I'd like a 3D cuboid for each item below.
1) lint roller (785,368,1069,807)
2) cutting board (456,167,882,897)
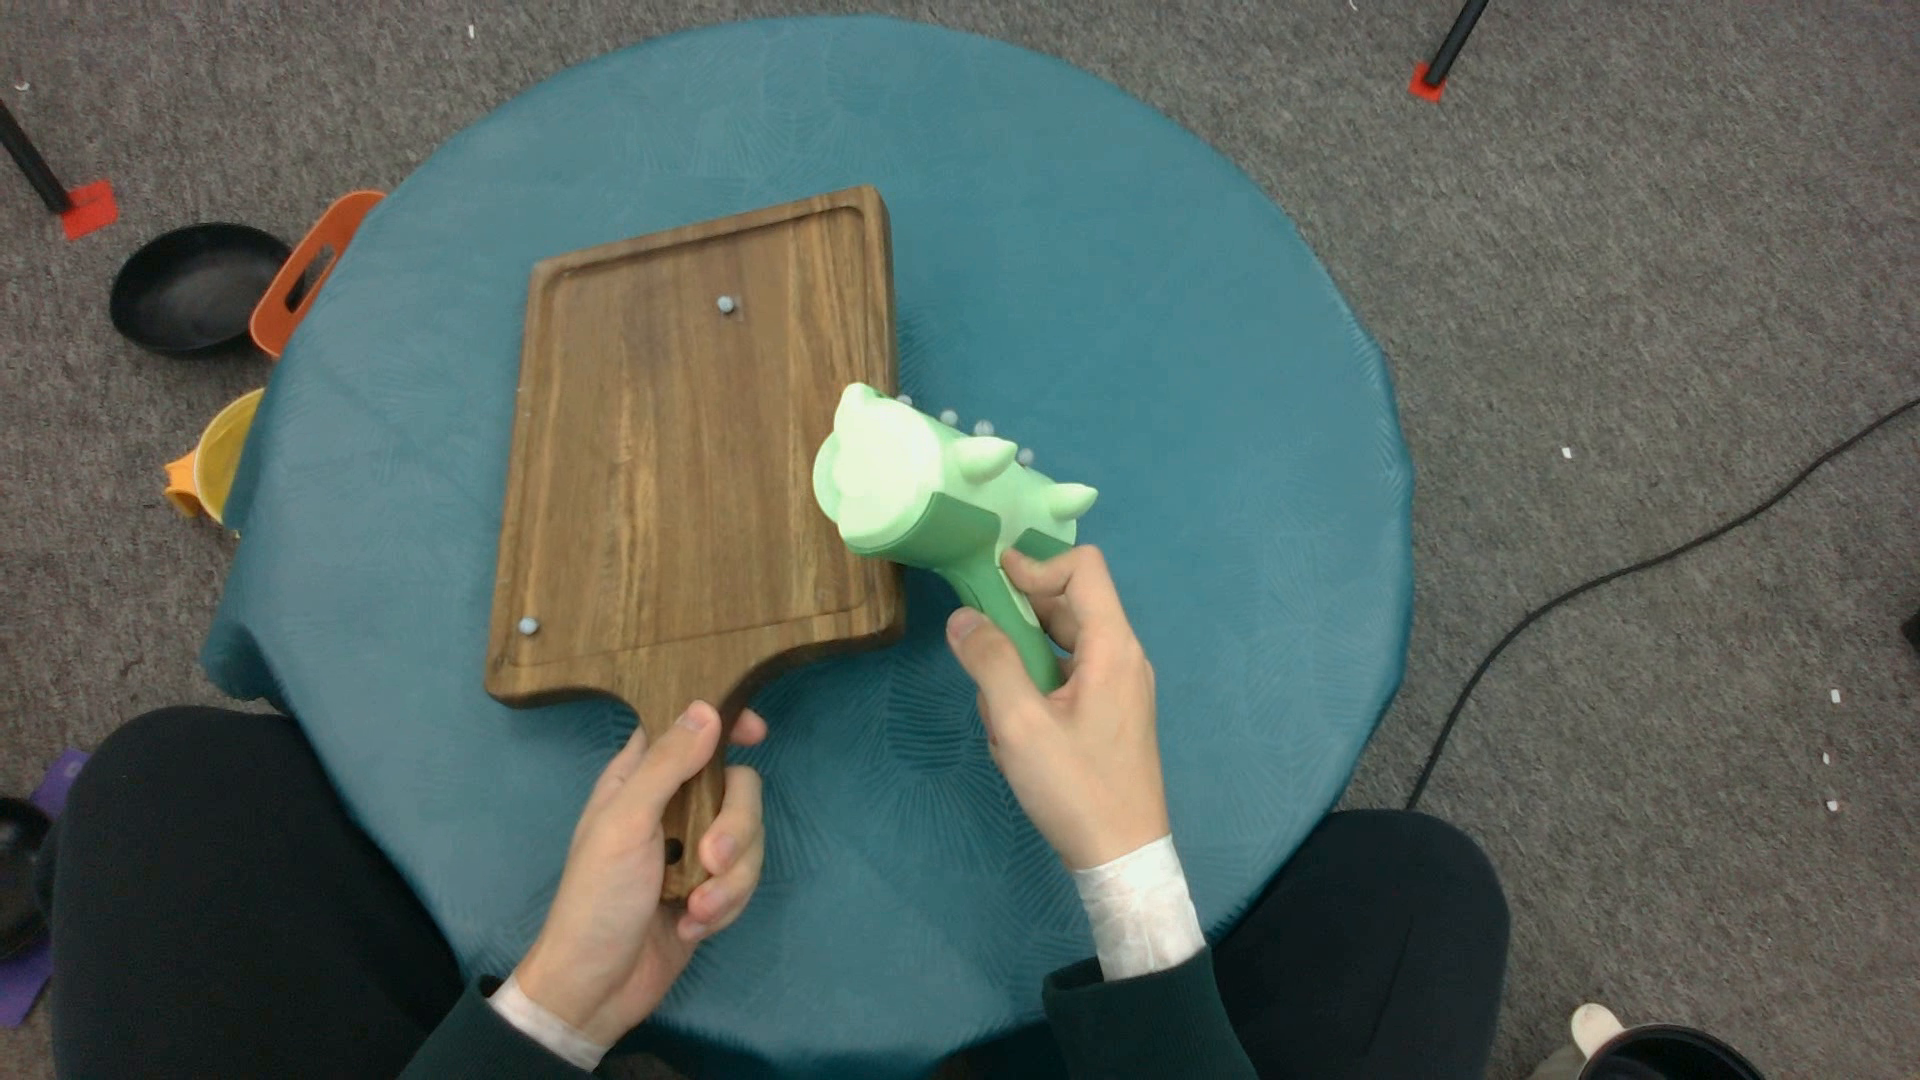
[{"bbox_3d":[0.019,0.019,0.598,0.082,0.199,0.183,-35,73,13],"label":"lint roller"},{"bbox_3d":[-0.138,-0.012,0.637,0.201,0.023,0.353,-12,62,10],"label":"cutting board"}]
